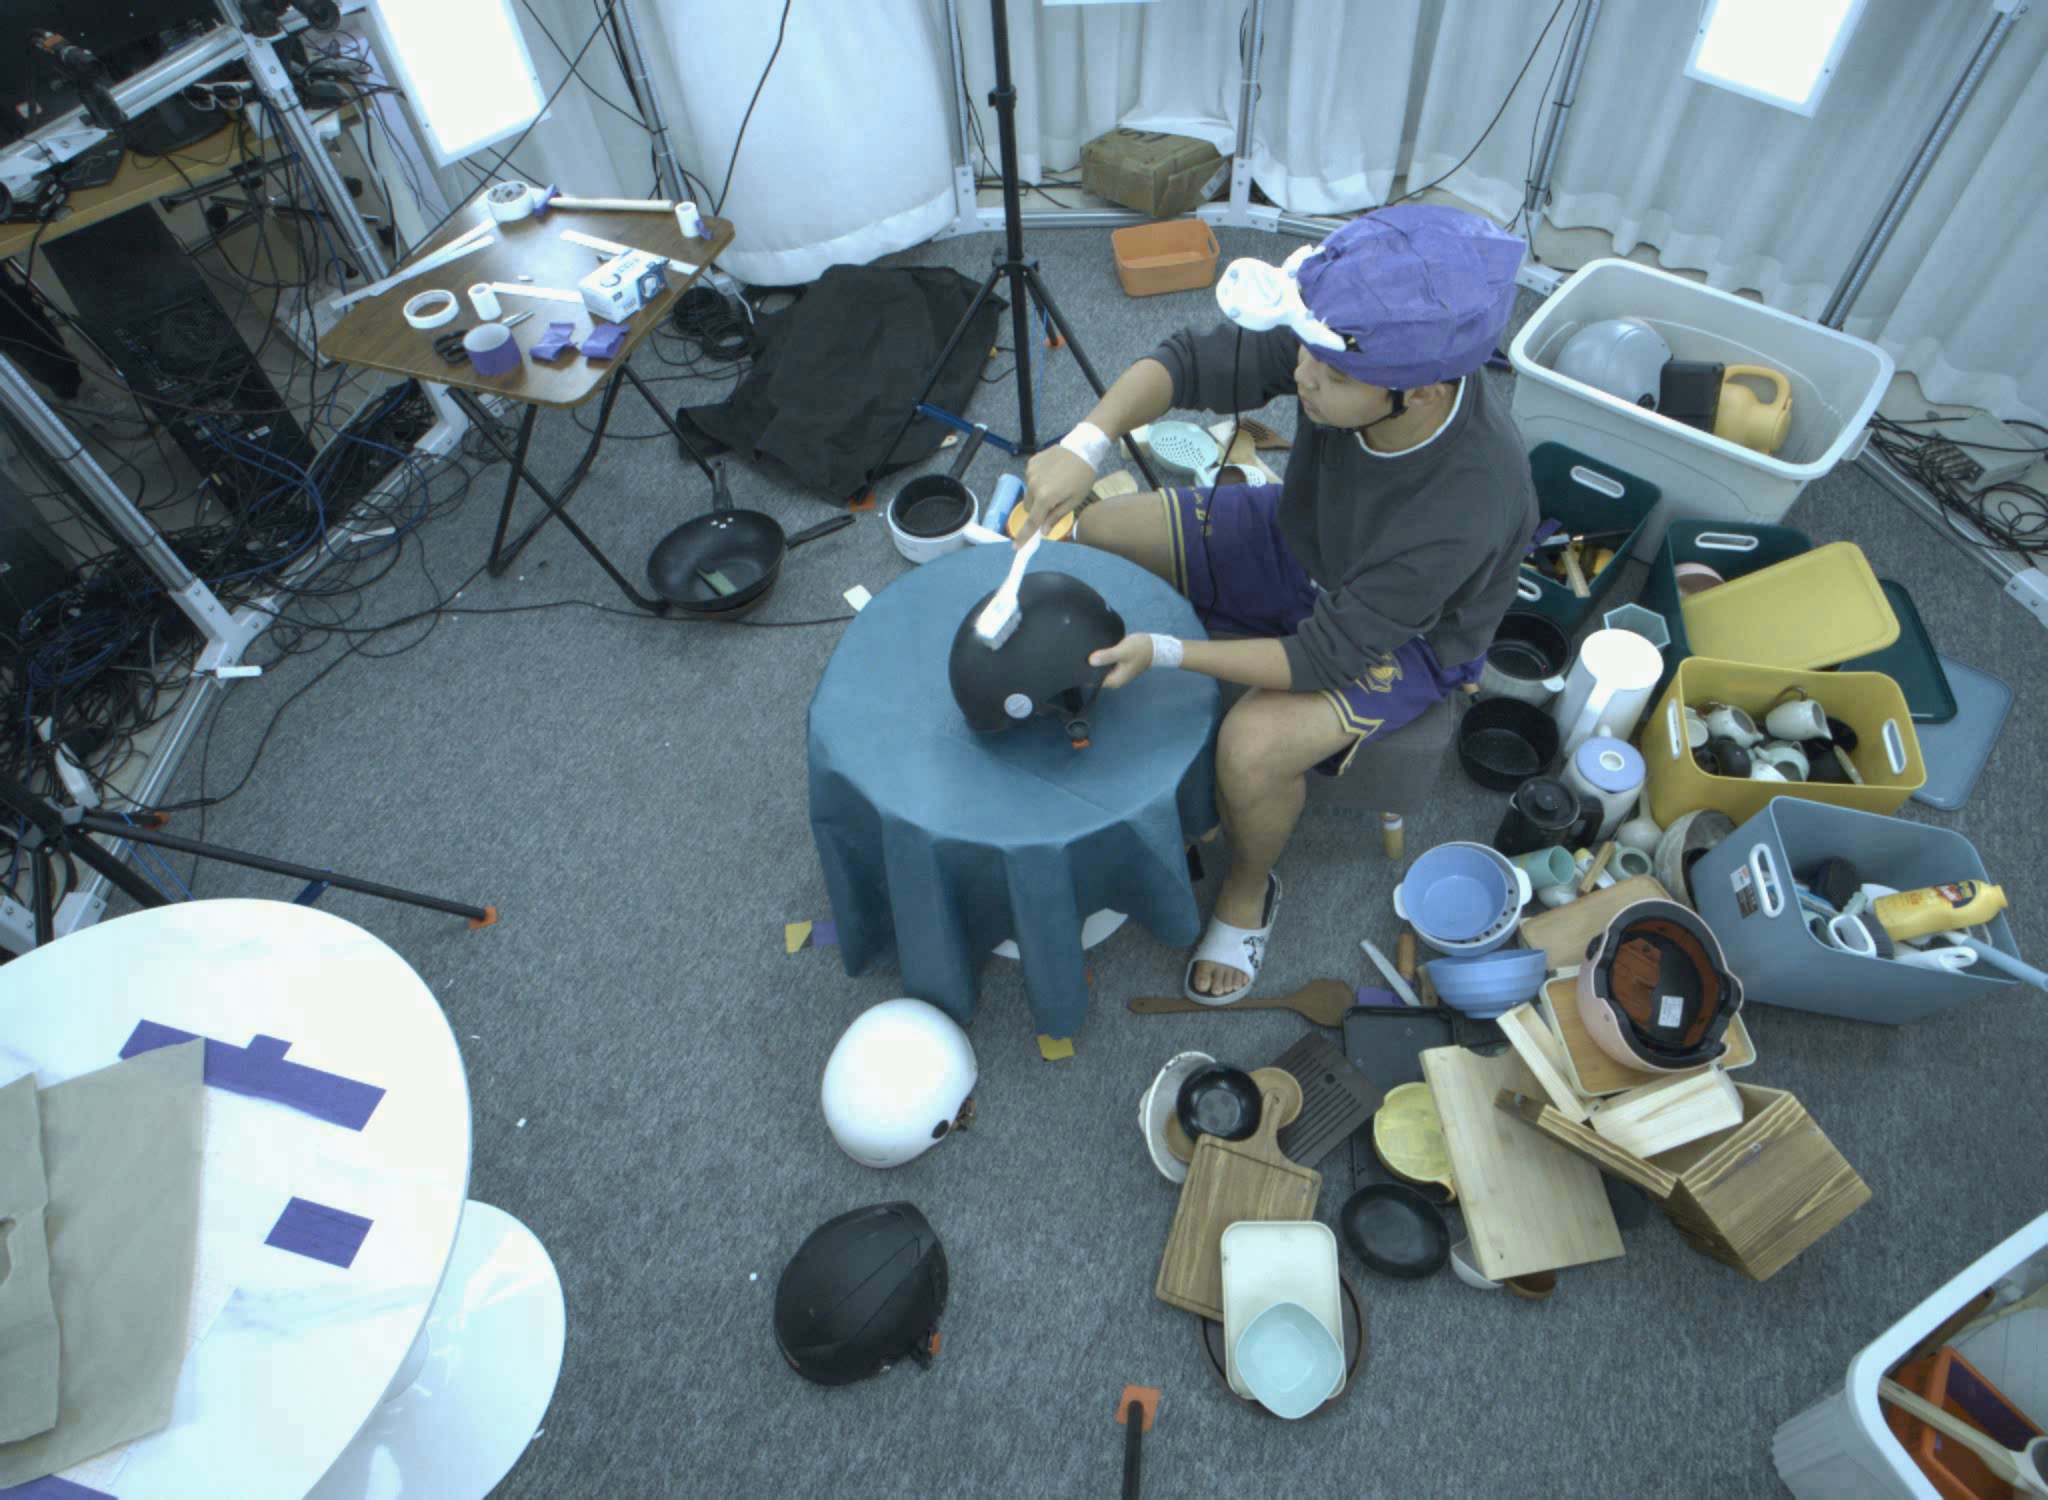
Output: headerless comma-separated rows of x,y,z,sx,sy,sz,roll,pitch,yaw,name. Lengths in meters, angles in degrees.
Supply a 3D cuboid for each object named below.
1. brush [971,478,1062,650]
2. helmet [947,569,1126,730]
-0.001,-0.248,1.638,0.033,0.051,0.243,29,94,34,brush
0.001,-0.159,1.751,0.272,0.169,0.227,-25,29,10,helmet
